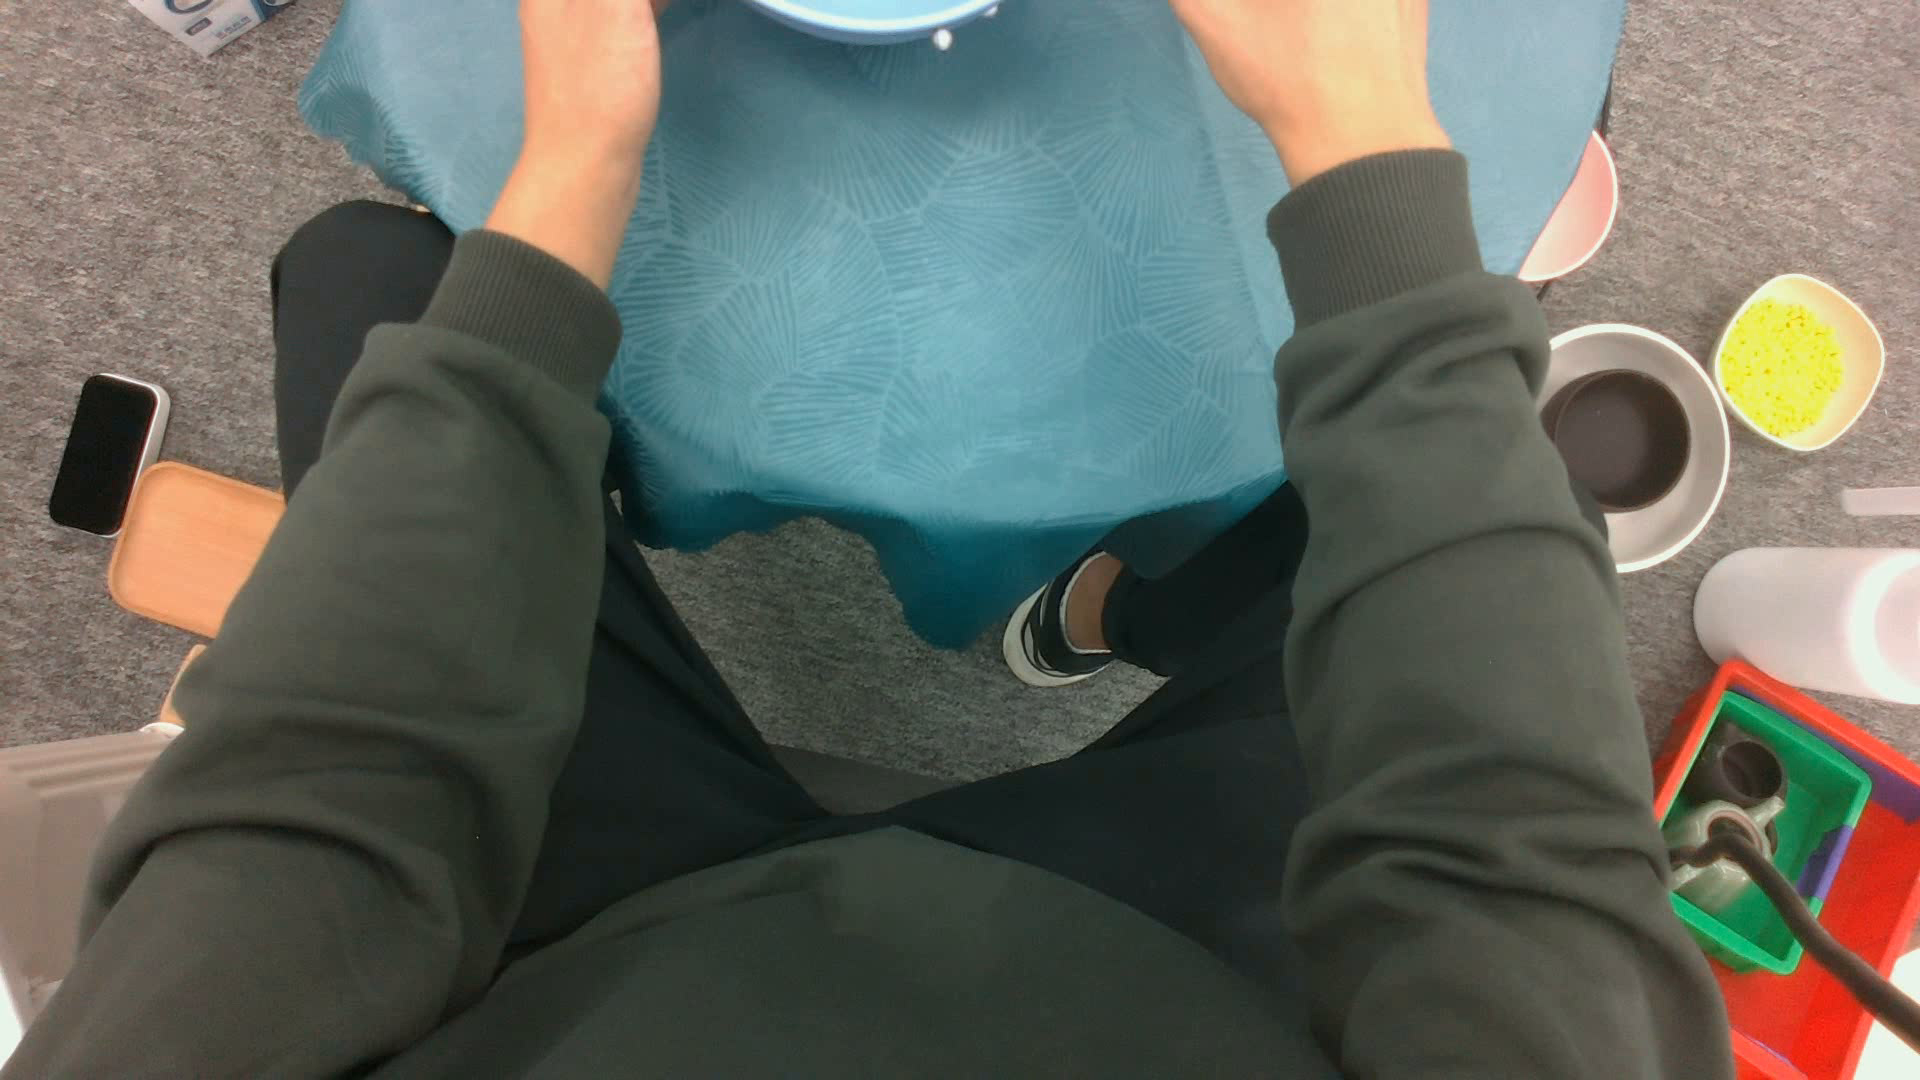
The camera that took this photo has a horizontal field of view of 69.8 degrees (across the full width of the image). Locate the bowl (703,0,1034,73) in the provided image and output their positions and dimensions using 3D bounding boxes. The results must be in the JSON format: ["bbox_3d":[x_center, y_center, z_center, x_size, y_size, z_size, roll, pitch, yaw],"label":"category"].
[{"bbox_3d":[-0.044,-0.292,0.603,0.196,0.095,0.196,0,91,-6],"label":"bowl"}]
